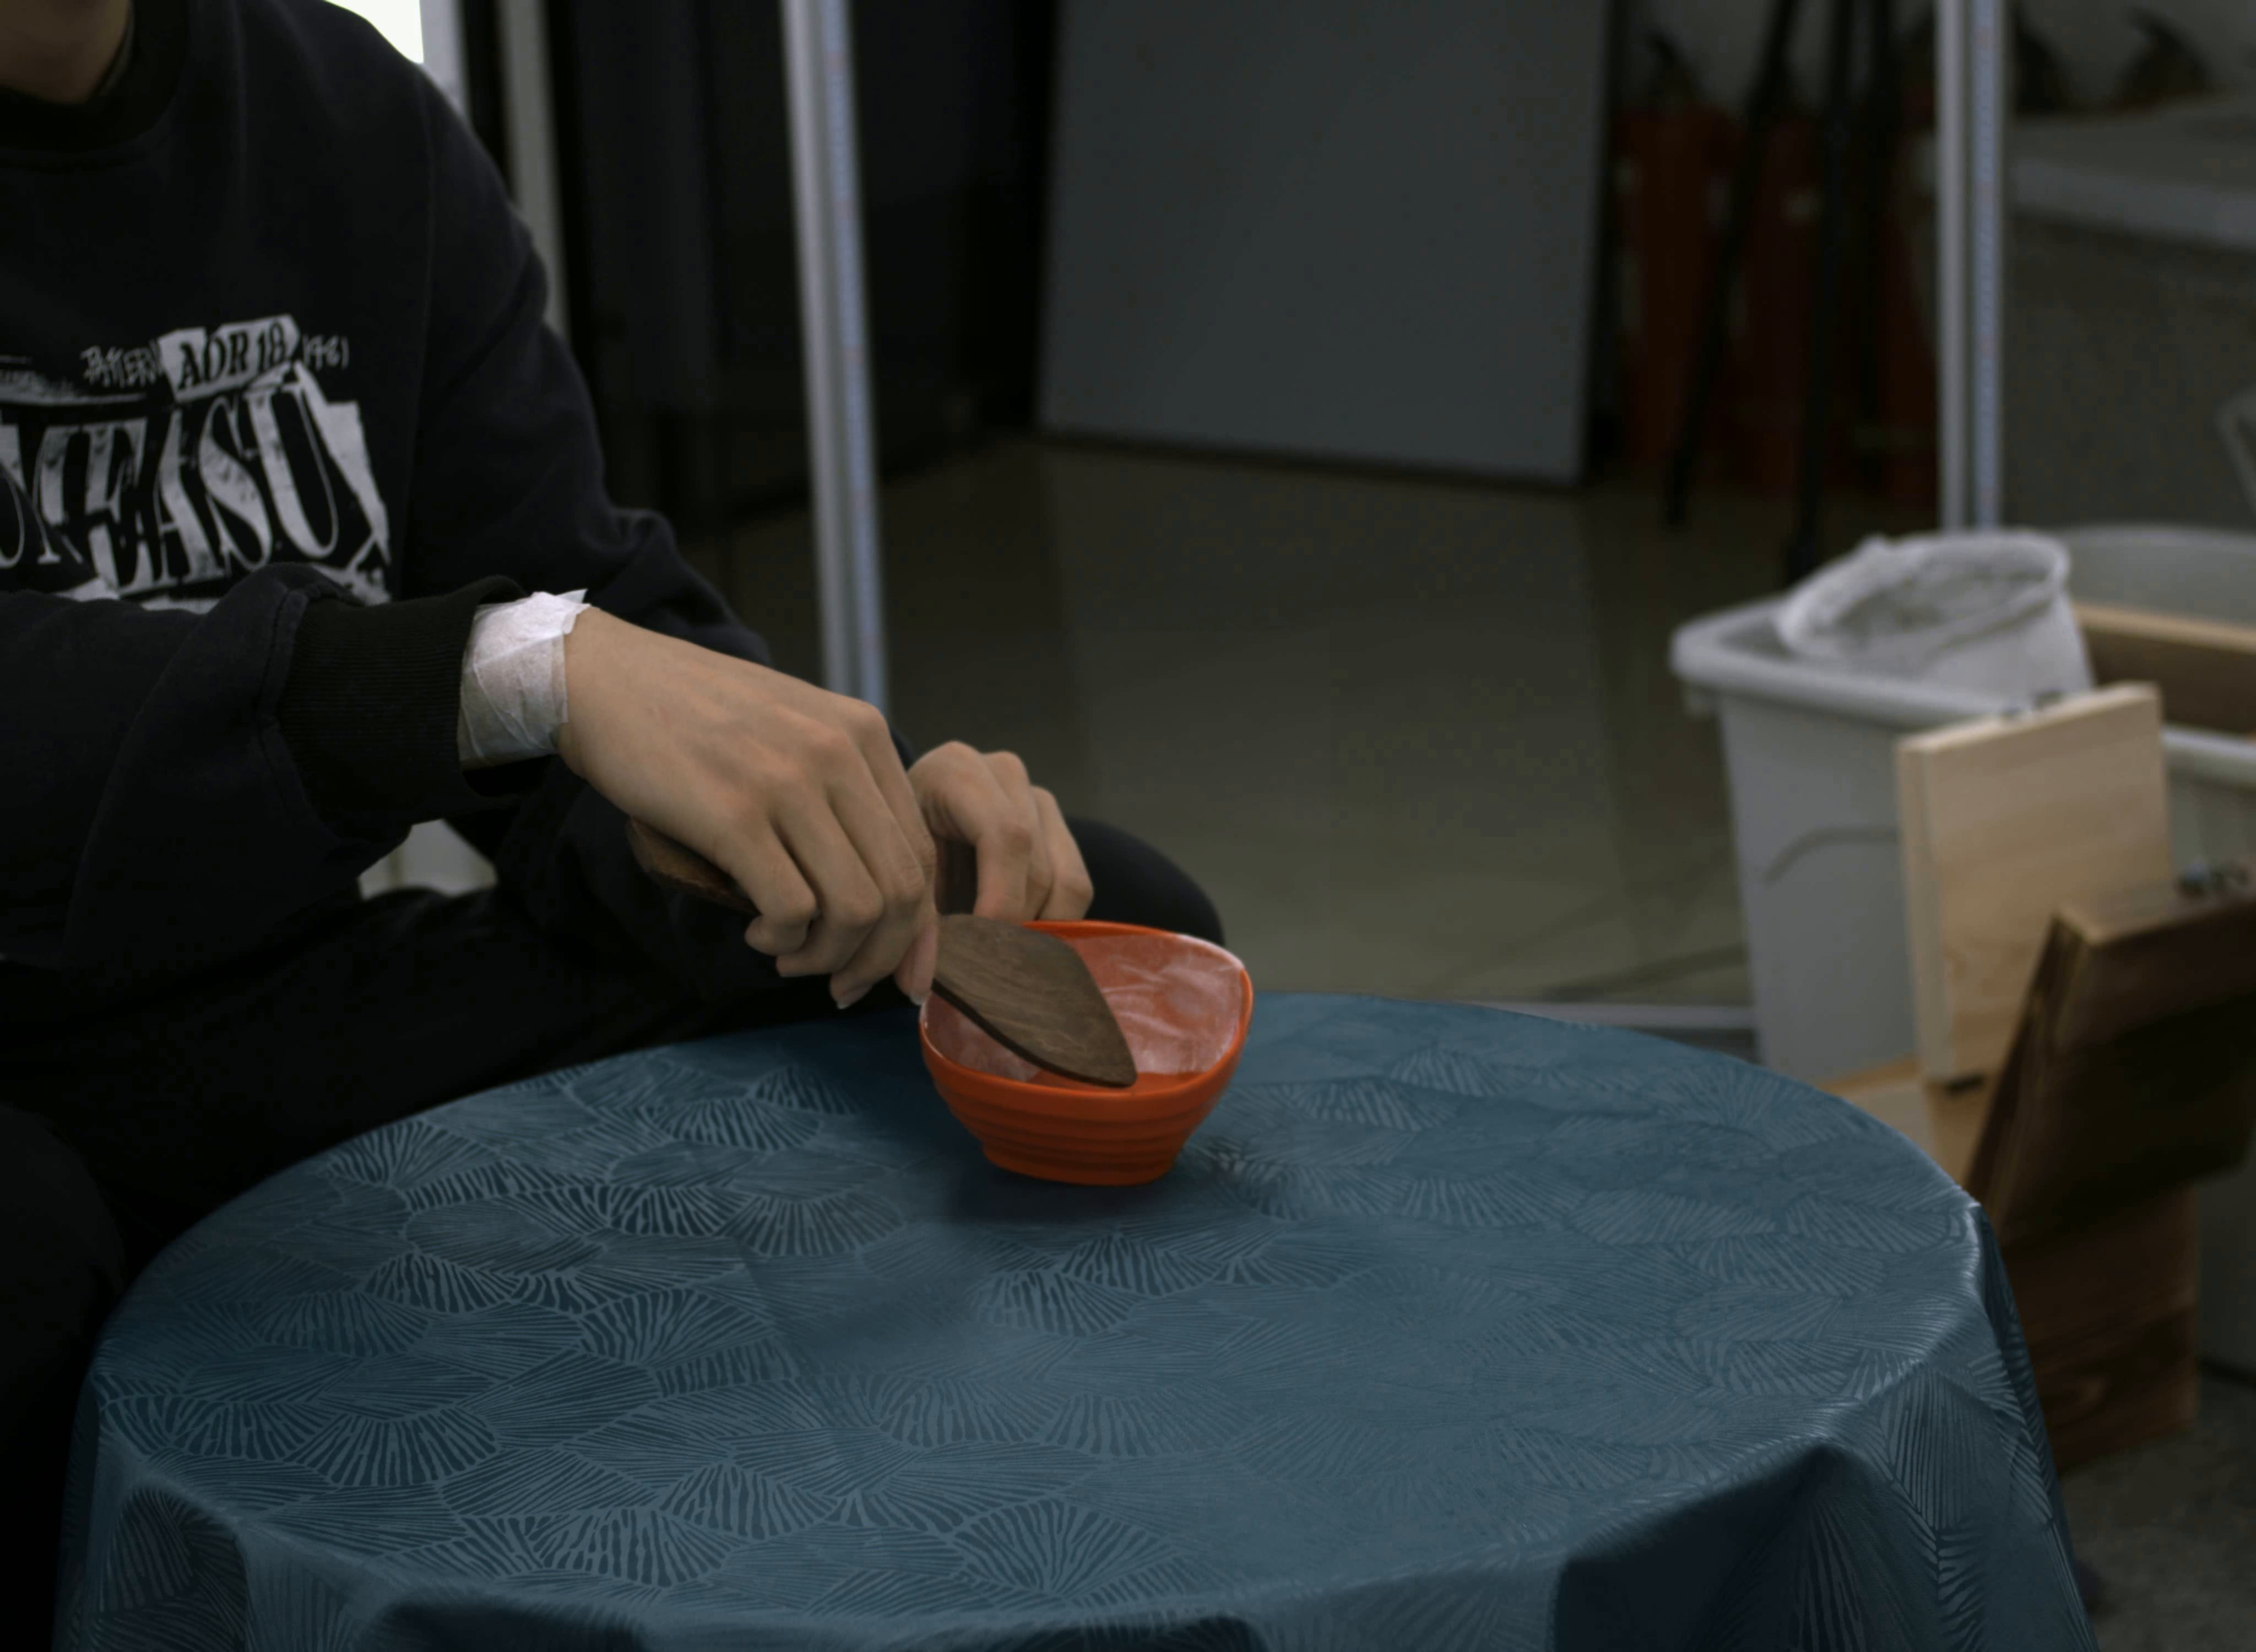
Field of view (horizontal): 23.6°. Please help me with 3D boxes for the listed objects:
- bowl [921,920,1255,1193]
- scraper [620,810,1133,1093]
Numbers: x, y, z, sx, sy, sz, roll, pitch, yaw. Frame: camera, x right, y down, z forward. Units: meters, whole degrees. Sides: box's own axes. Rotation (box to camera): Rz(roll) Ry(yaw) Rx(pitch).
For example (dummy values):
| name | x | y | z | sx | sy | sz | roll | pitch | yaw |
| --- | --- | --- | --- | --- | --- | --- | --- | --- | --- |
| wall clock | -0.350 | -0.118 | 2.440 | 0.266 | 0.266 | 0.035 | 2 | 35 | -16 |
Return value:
| name | x | y | z | sx | sy | sz | roll | pitch | yaw |
| --- | --- | --- | --- | --- | --- | --- | --- | --- | --- |
| bowl | -0.013 | 0.081 | 1.795 | 0.117 | 0.052 | 0.119 | 0 | 31 | -1 |
| scraper | -0.081 | 0.035 | 1.731 | 0.207 | 0.011 | 0.077 | 24 | 28 | -40 |
